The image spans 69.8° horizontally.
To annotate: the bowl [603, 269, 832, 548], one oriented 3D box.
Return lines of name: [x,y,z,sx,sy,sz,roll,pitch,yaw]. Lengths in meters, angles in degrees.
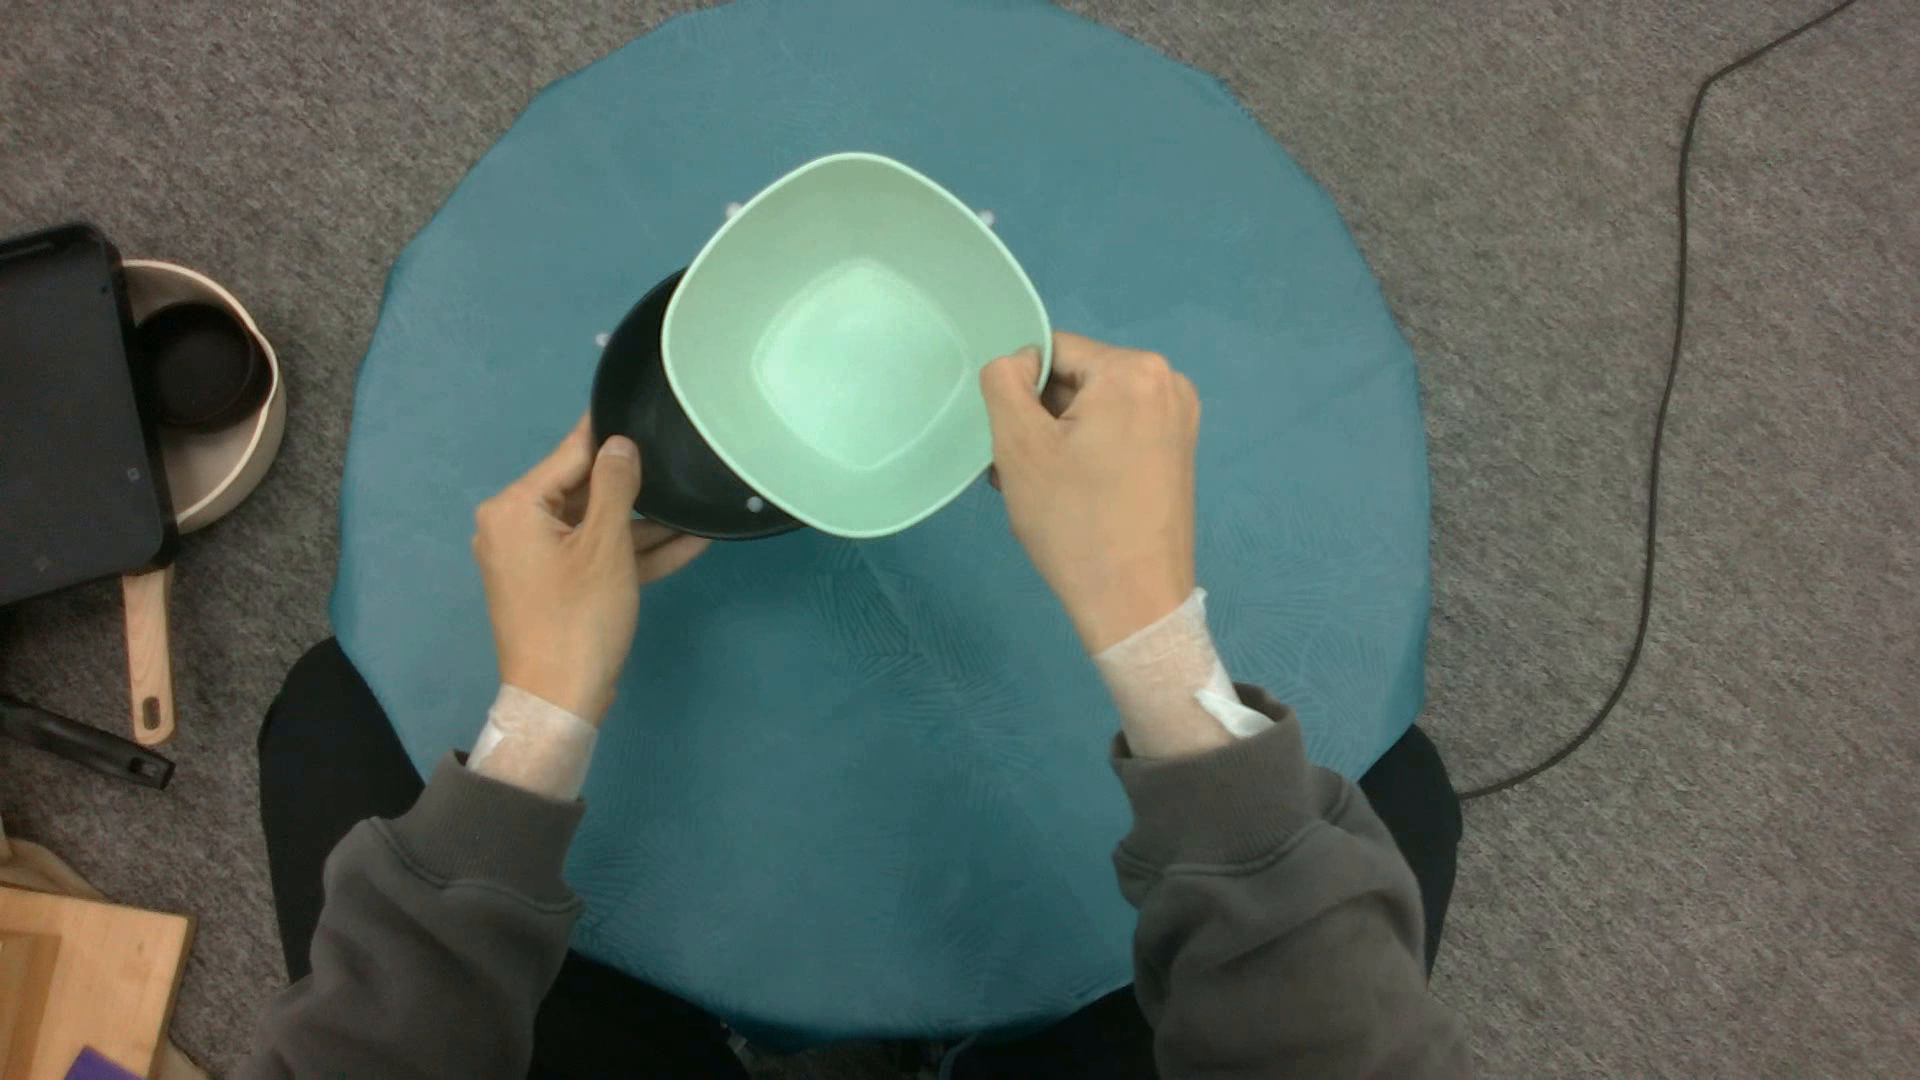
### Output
bowl: [-0.093,-0.064,0.695,0.170,0.066,0.137,-27,83,-10]

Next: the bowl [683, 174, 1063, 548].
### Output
bowl: [-0.035,-0.070,0.574,0.151,0.058,0.151,0,85,-3]
